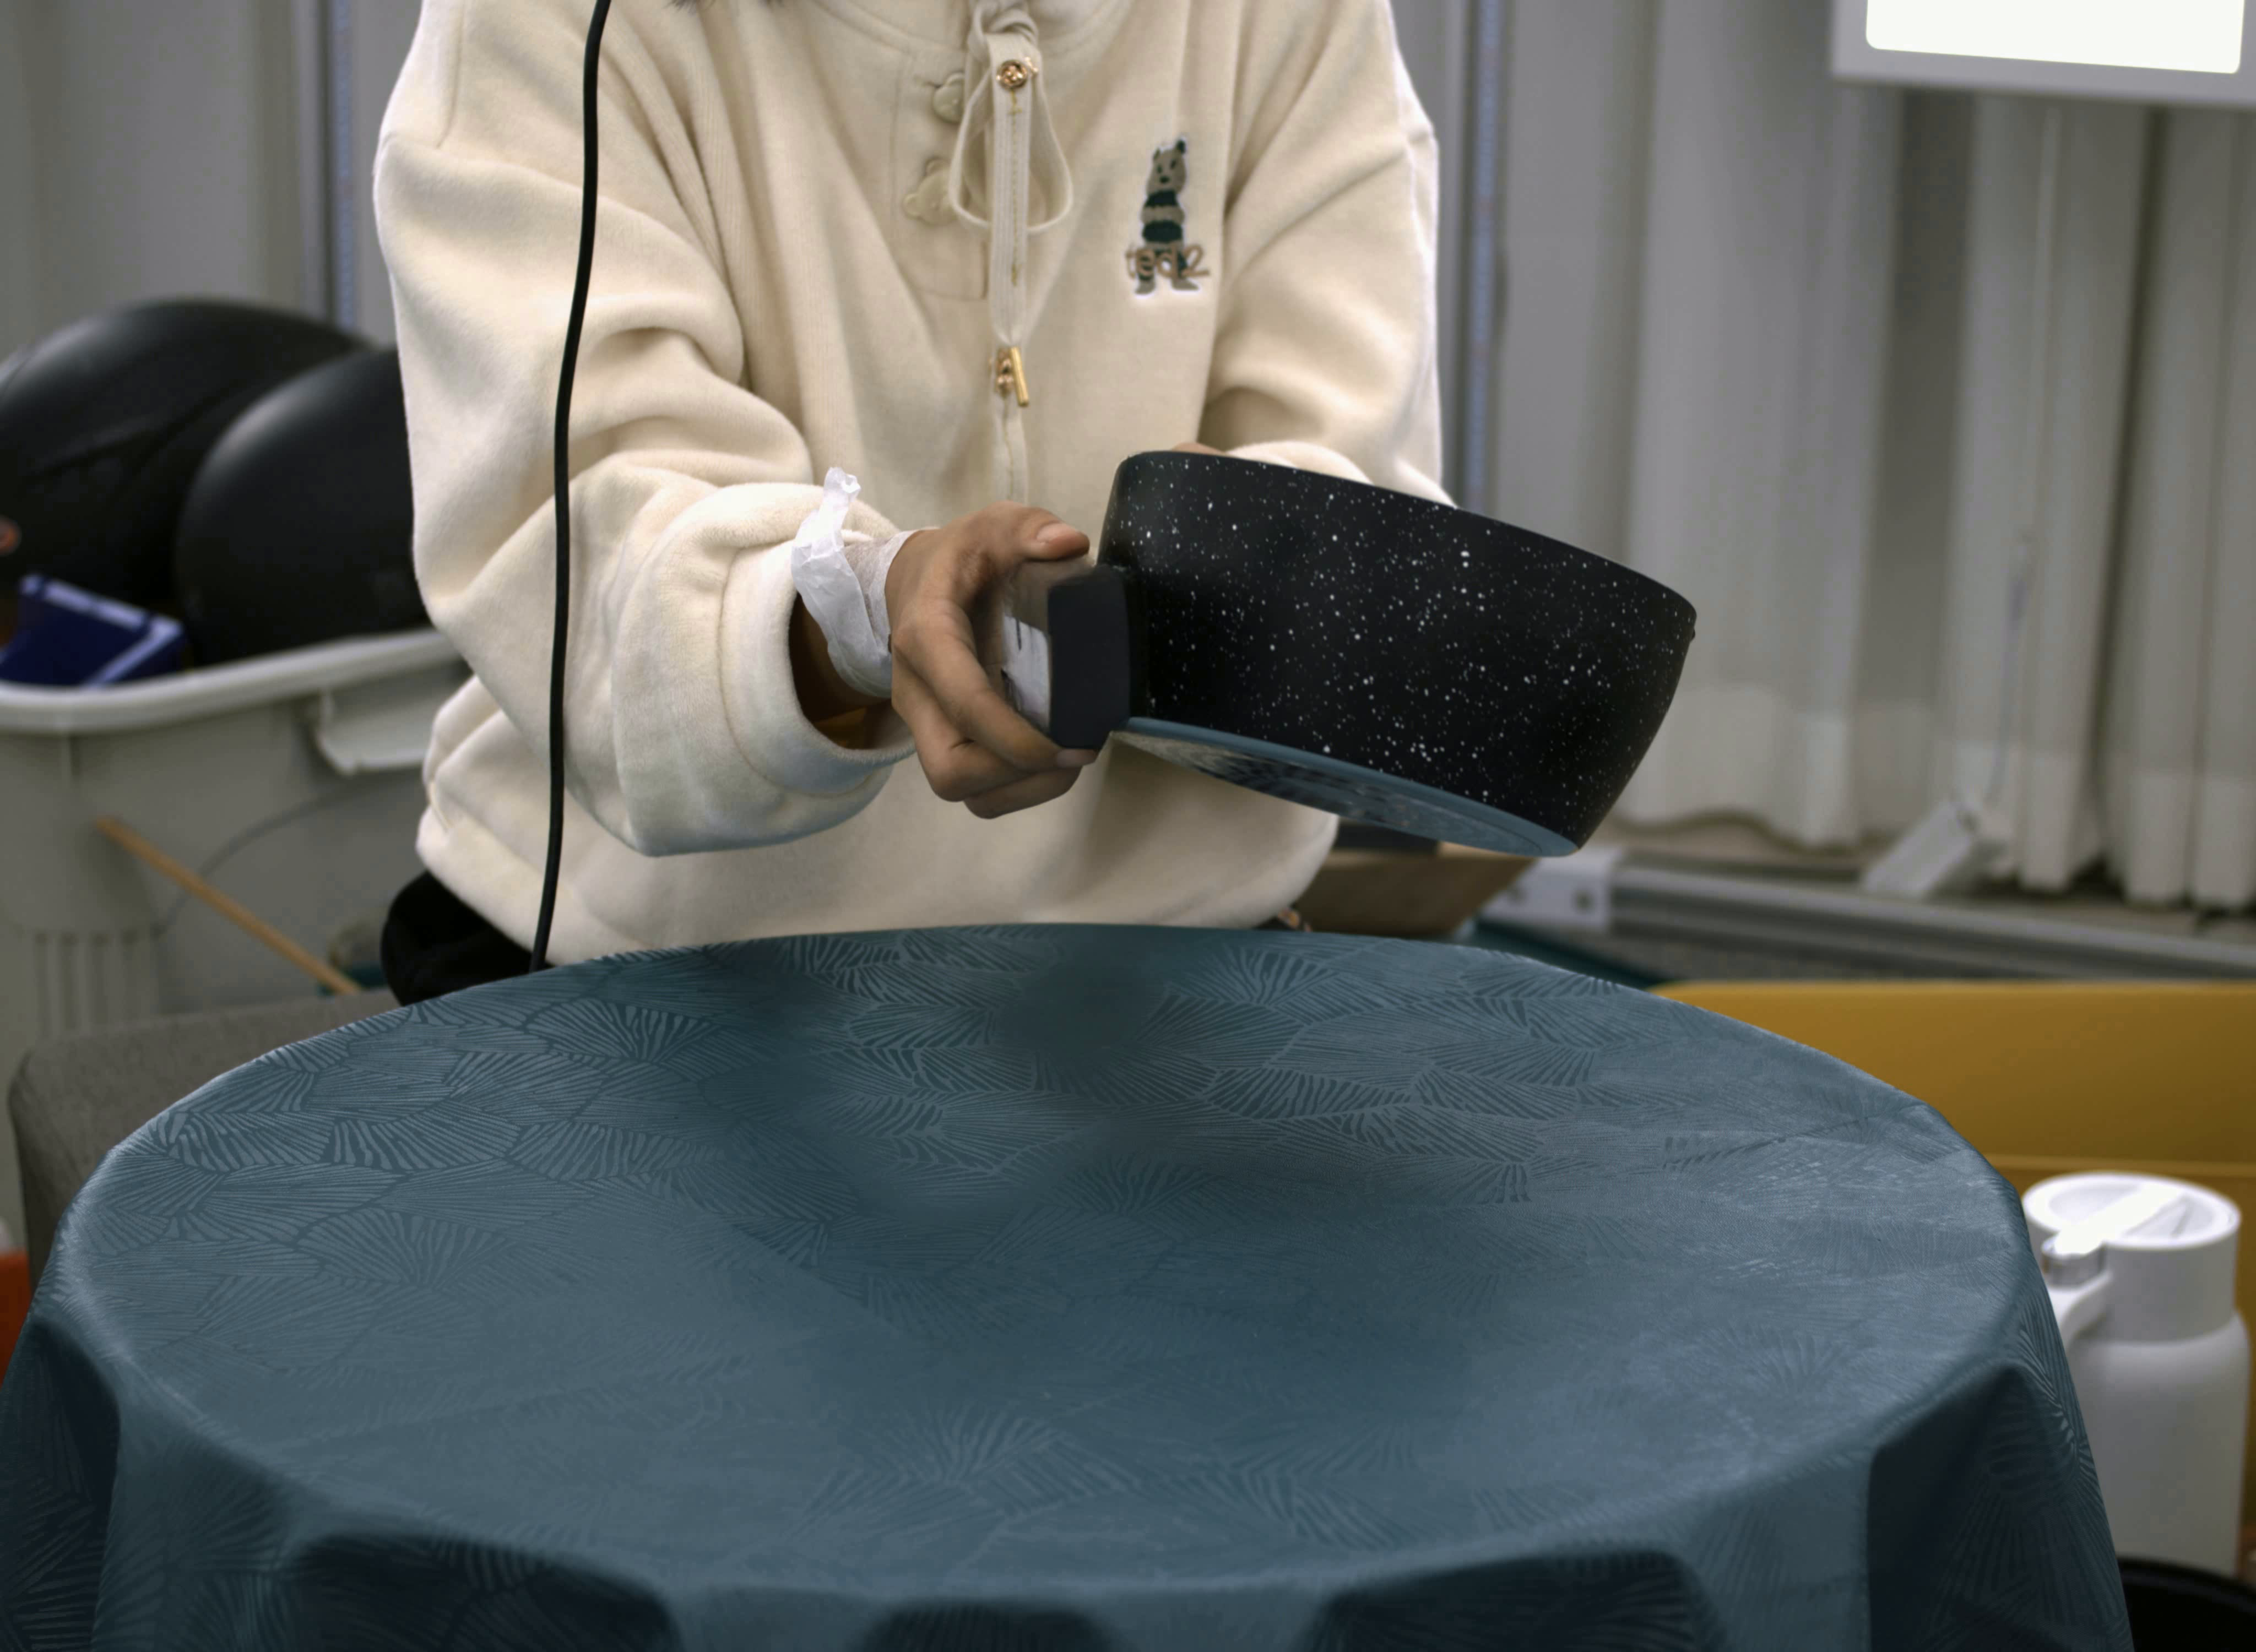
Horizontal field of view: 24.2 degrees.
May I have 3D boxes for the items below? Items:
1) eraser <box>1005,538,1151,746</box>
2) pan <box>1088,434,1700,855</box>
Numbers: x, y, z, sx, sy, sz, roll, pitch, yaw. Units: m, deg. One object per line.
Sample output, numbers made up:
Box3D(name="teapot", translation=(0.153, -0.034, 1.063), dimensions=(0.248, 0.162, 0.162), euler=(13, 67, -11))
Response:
Box3D(name="eraser", translation=(-0.016, -0.056, 1.565), dimensions=(0.030, 0.054, 0.125), euler=(-3, 7, -8))
Box3D(name="pan", translation=(0.052, -0.063, 1.699), dimensions=(0.208, 0.108, 0.340), euler=(17, -3, -20))
